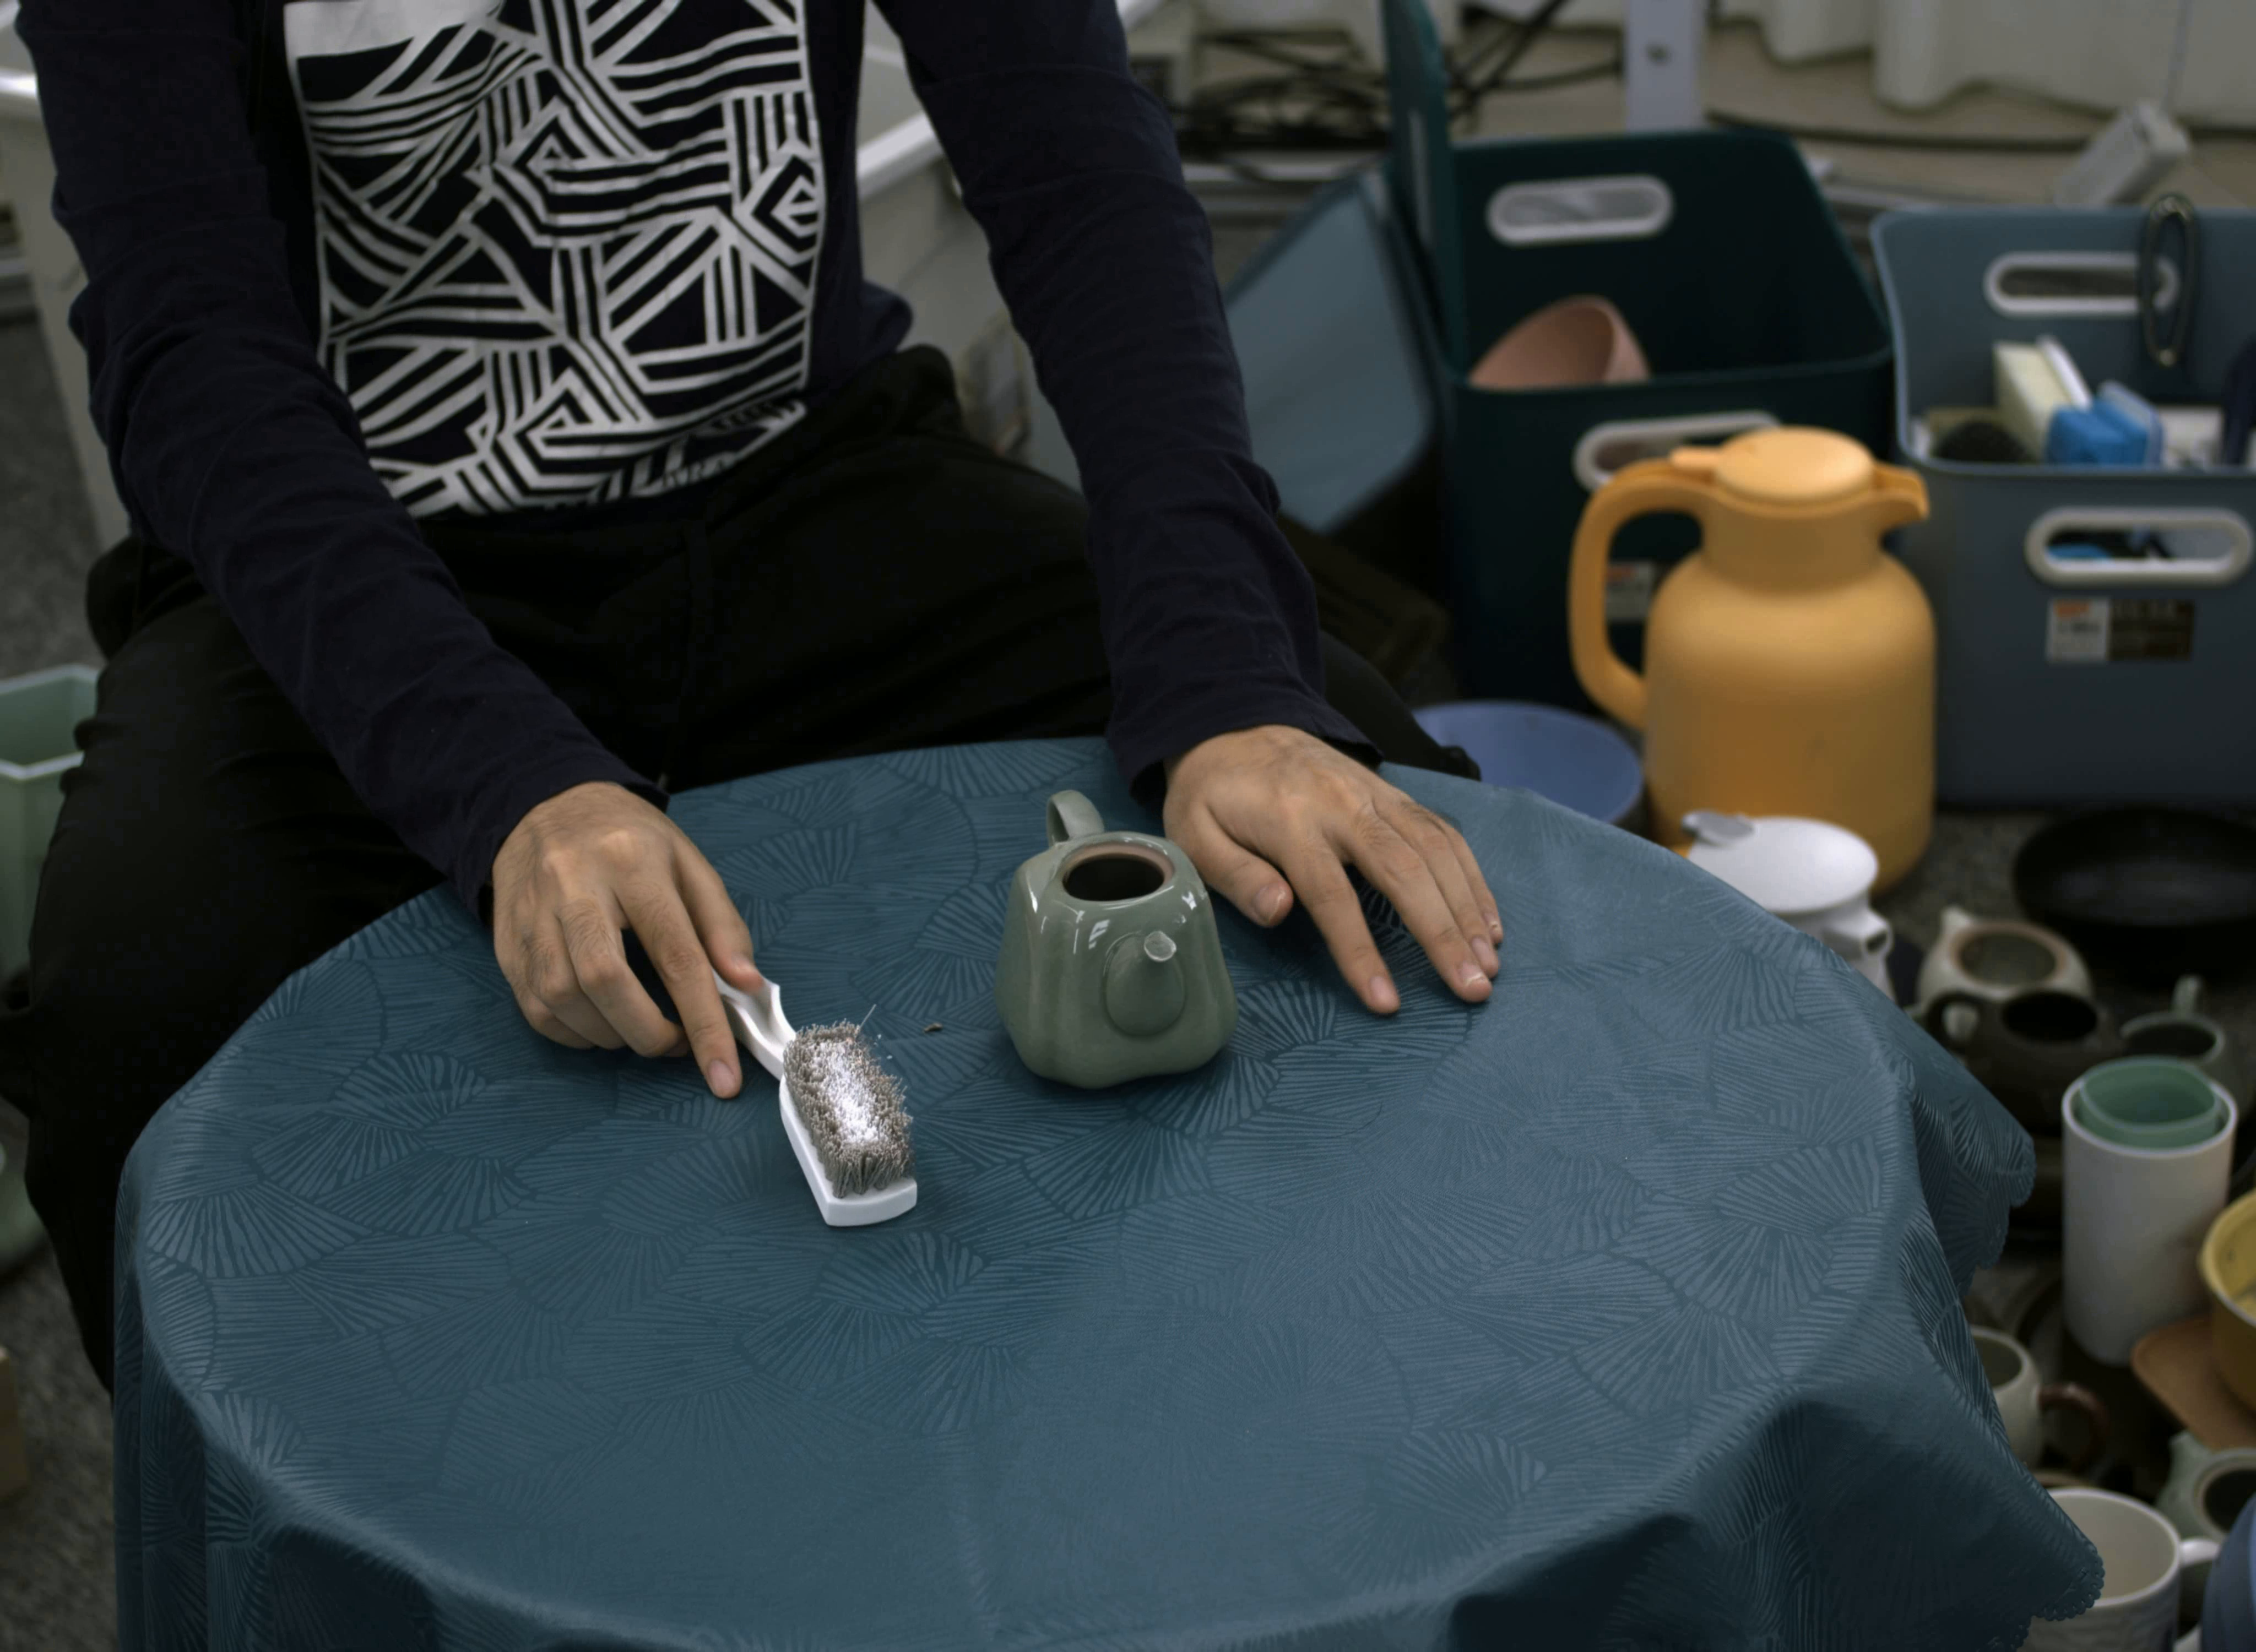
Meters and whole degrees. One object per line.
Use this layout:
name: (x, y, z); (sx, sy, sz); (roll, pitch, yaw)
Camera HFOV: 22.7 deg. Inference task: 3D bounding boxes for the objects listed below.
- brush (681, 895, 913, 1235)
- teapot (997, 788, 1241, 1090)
brush: (-0.119, 0.064, 1.930); (0.034, 0.049, 0.246); (-14, 29, -12)
teapot: (-0.004, 0.043, 1.933); (0.080, 0.074, 0.134); (-10, 27, -14)
